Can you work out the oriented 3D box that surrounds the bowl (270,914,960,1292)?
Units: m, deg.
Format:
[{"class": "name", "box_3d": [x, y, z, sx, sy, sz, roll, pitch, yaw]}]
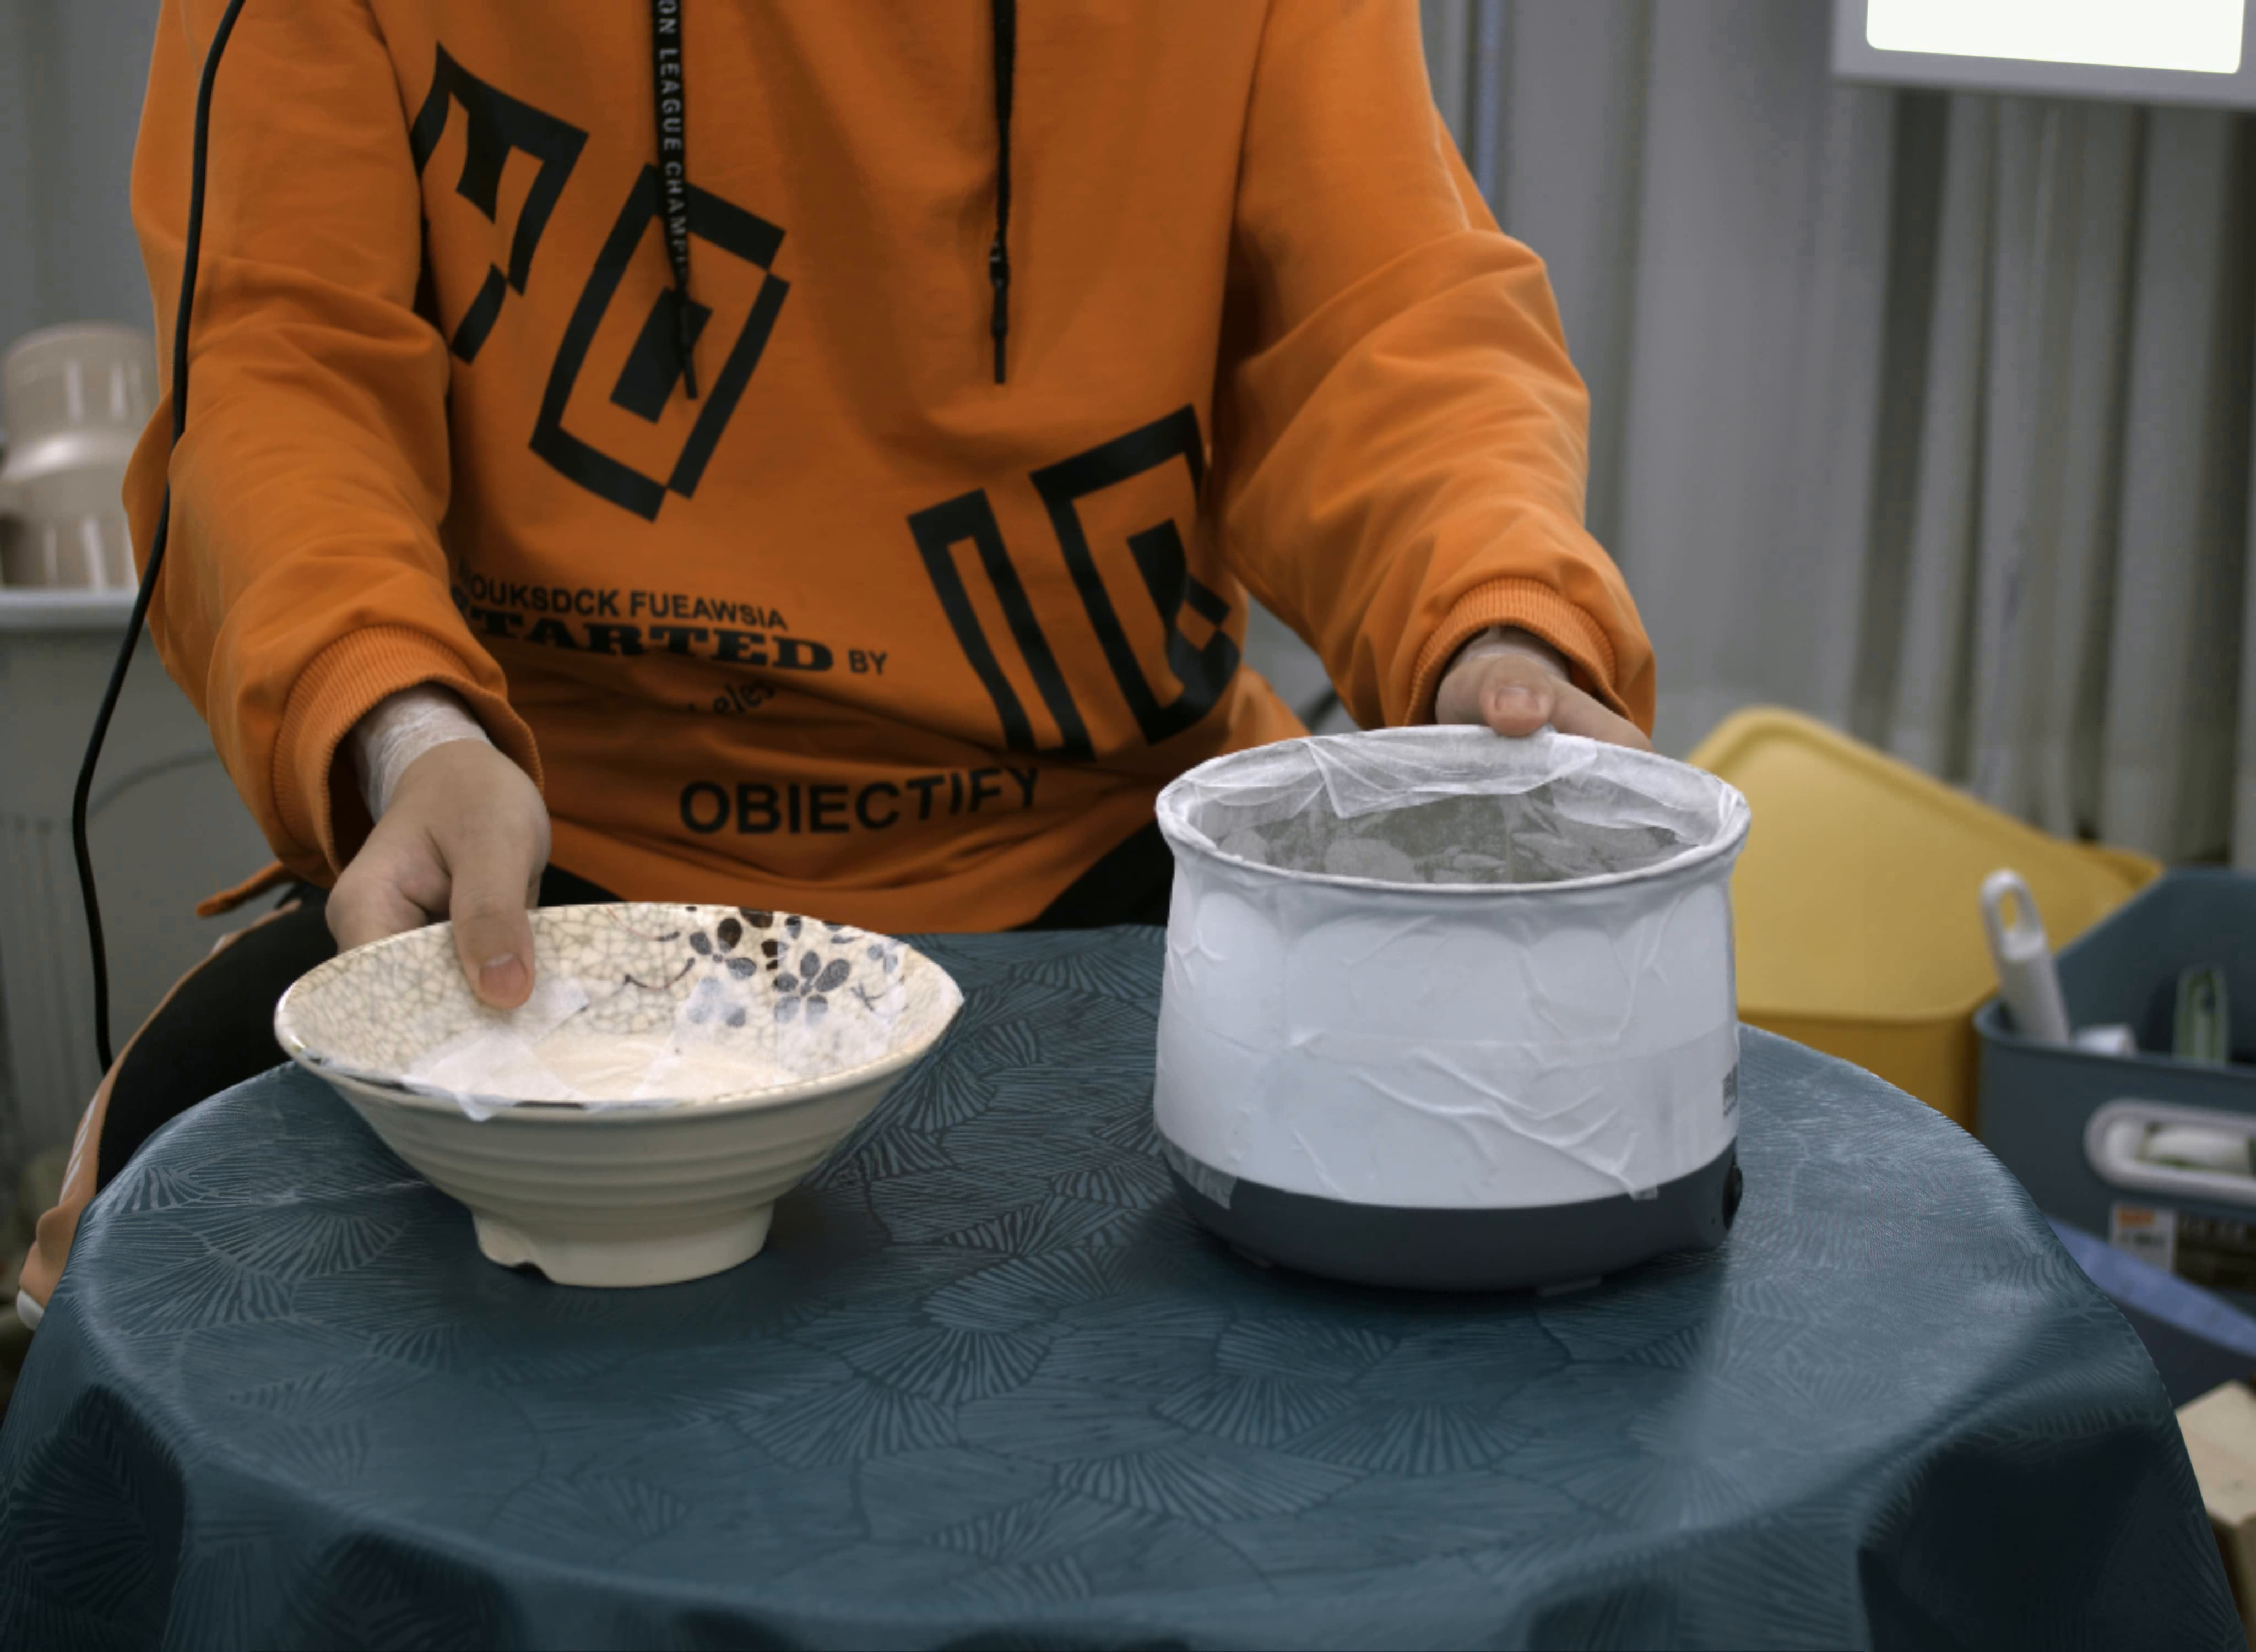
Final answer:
[{"class": "bowl", "box_3d": [-0.151, 0.088, 1.564, 0.203, 0.078, 0.203, 0, 14, 1]}]

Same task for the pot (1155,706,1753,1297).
[{"class": "pot", "box_3d": [0.103, 0.047, 1.603, 0.177, 0.138, 0.233, 5, 17, 13]}]
